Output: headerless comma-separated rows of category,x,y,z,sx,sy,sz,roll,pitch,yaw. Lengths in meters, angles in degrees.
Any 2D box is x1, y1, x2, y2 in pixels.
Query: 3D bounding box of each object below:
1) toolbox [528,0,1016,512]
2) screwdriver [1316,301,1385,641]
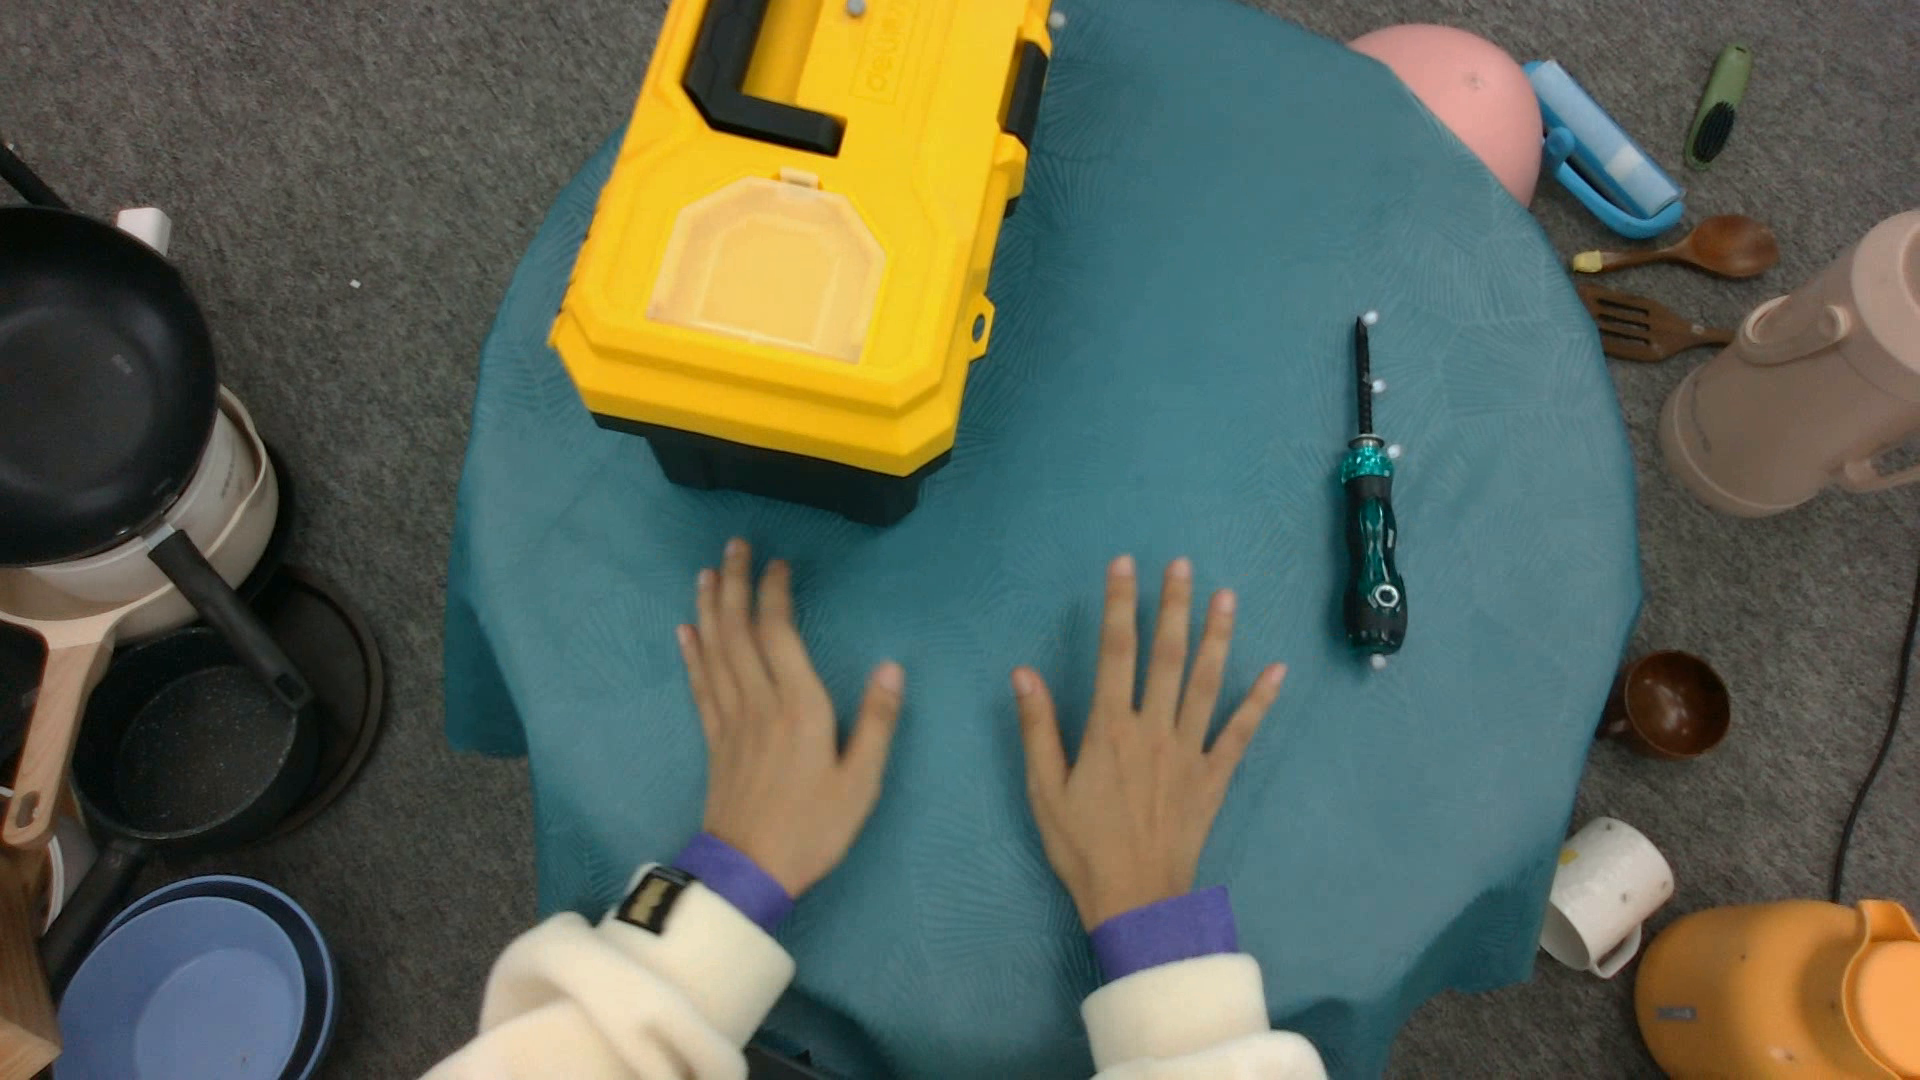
toolbox,-0.066,-0.196,0.657,0.181,0.172,0.352,12,70,0
screwdriver,0.197,-0.040,0.705,0.034,0.033,0.190,5,66,-2
